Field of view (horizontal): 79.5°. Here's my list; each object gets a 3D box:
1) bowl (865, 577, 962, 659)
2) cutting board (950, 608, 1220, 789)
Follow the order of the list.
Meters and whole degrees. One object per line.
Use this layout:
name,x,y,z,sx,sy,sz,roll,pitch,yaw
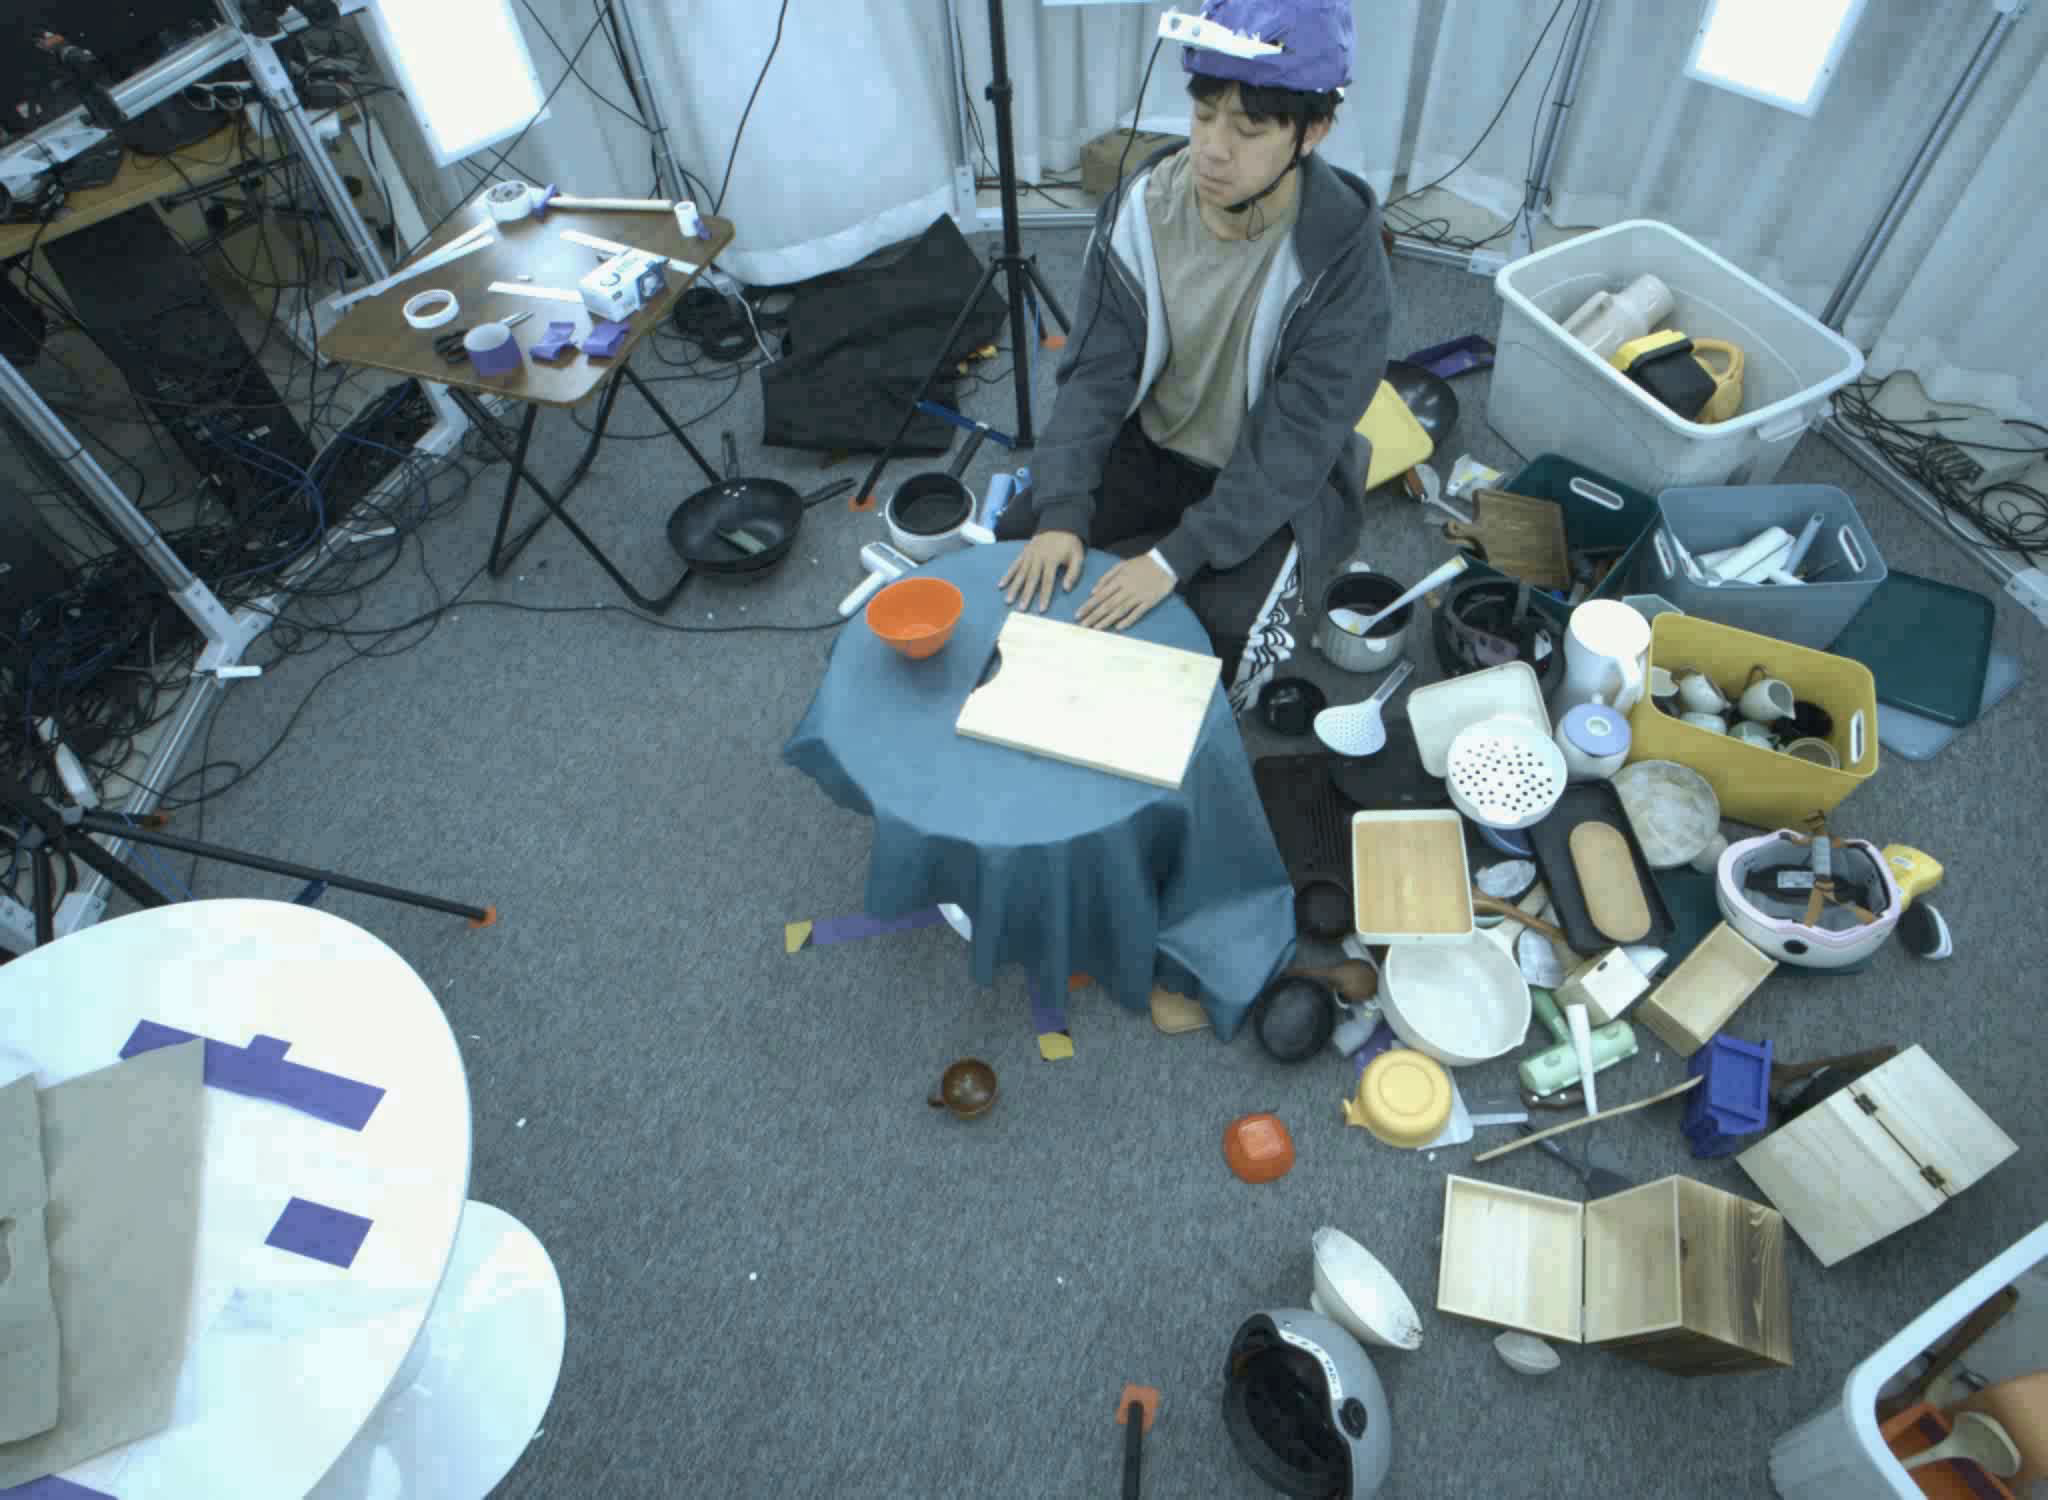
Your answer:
bowl,-0.163,-0.188,1.866,0.148,0.106,0.146,-2,56,4
cutting board,0.094,-0.083,1.836,0.345,0.024,0.250,14,56,12
